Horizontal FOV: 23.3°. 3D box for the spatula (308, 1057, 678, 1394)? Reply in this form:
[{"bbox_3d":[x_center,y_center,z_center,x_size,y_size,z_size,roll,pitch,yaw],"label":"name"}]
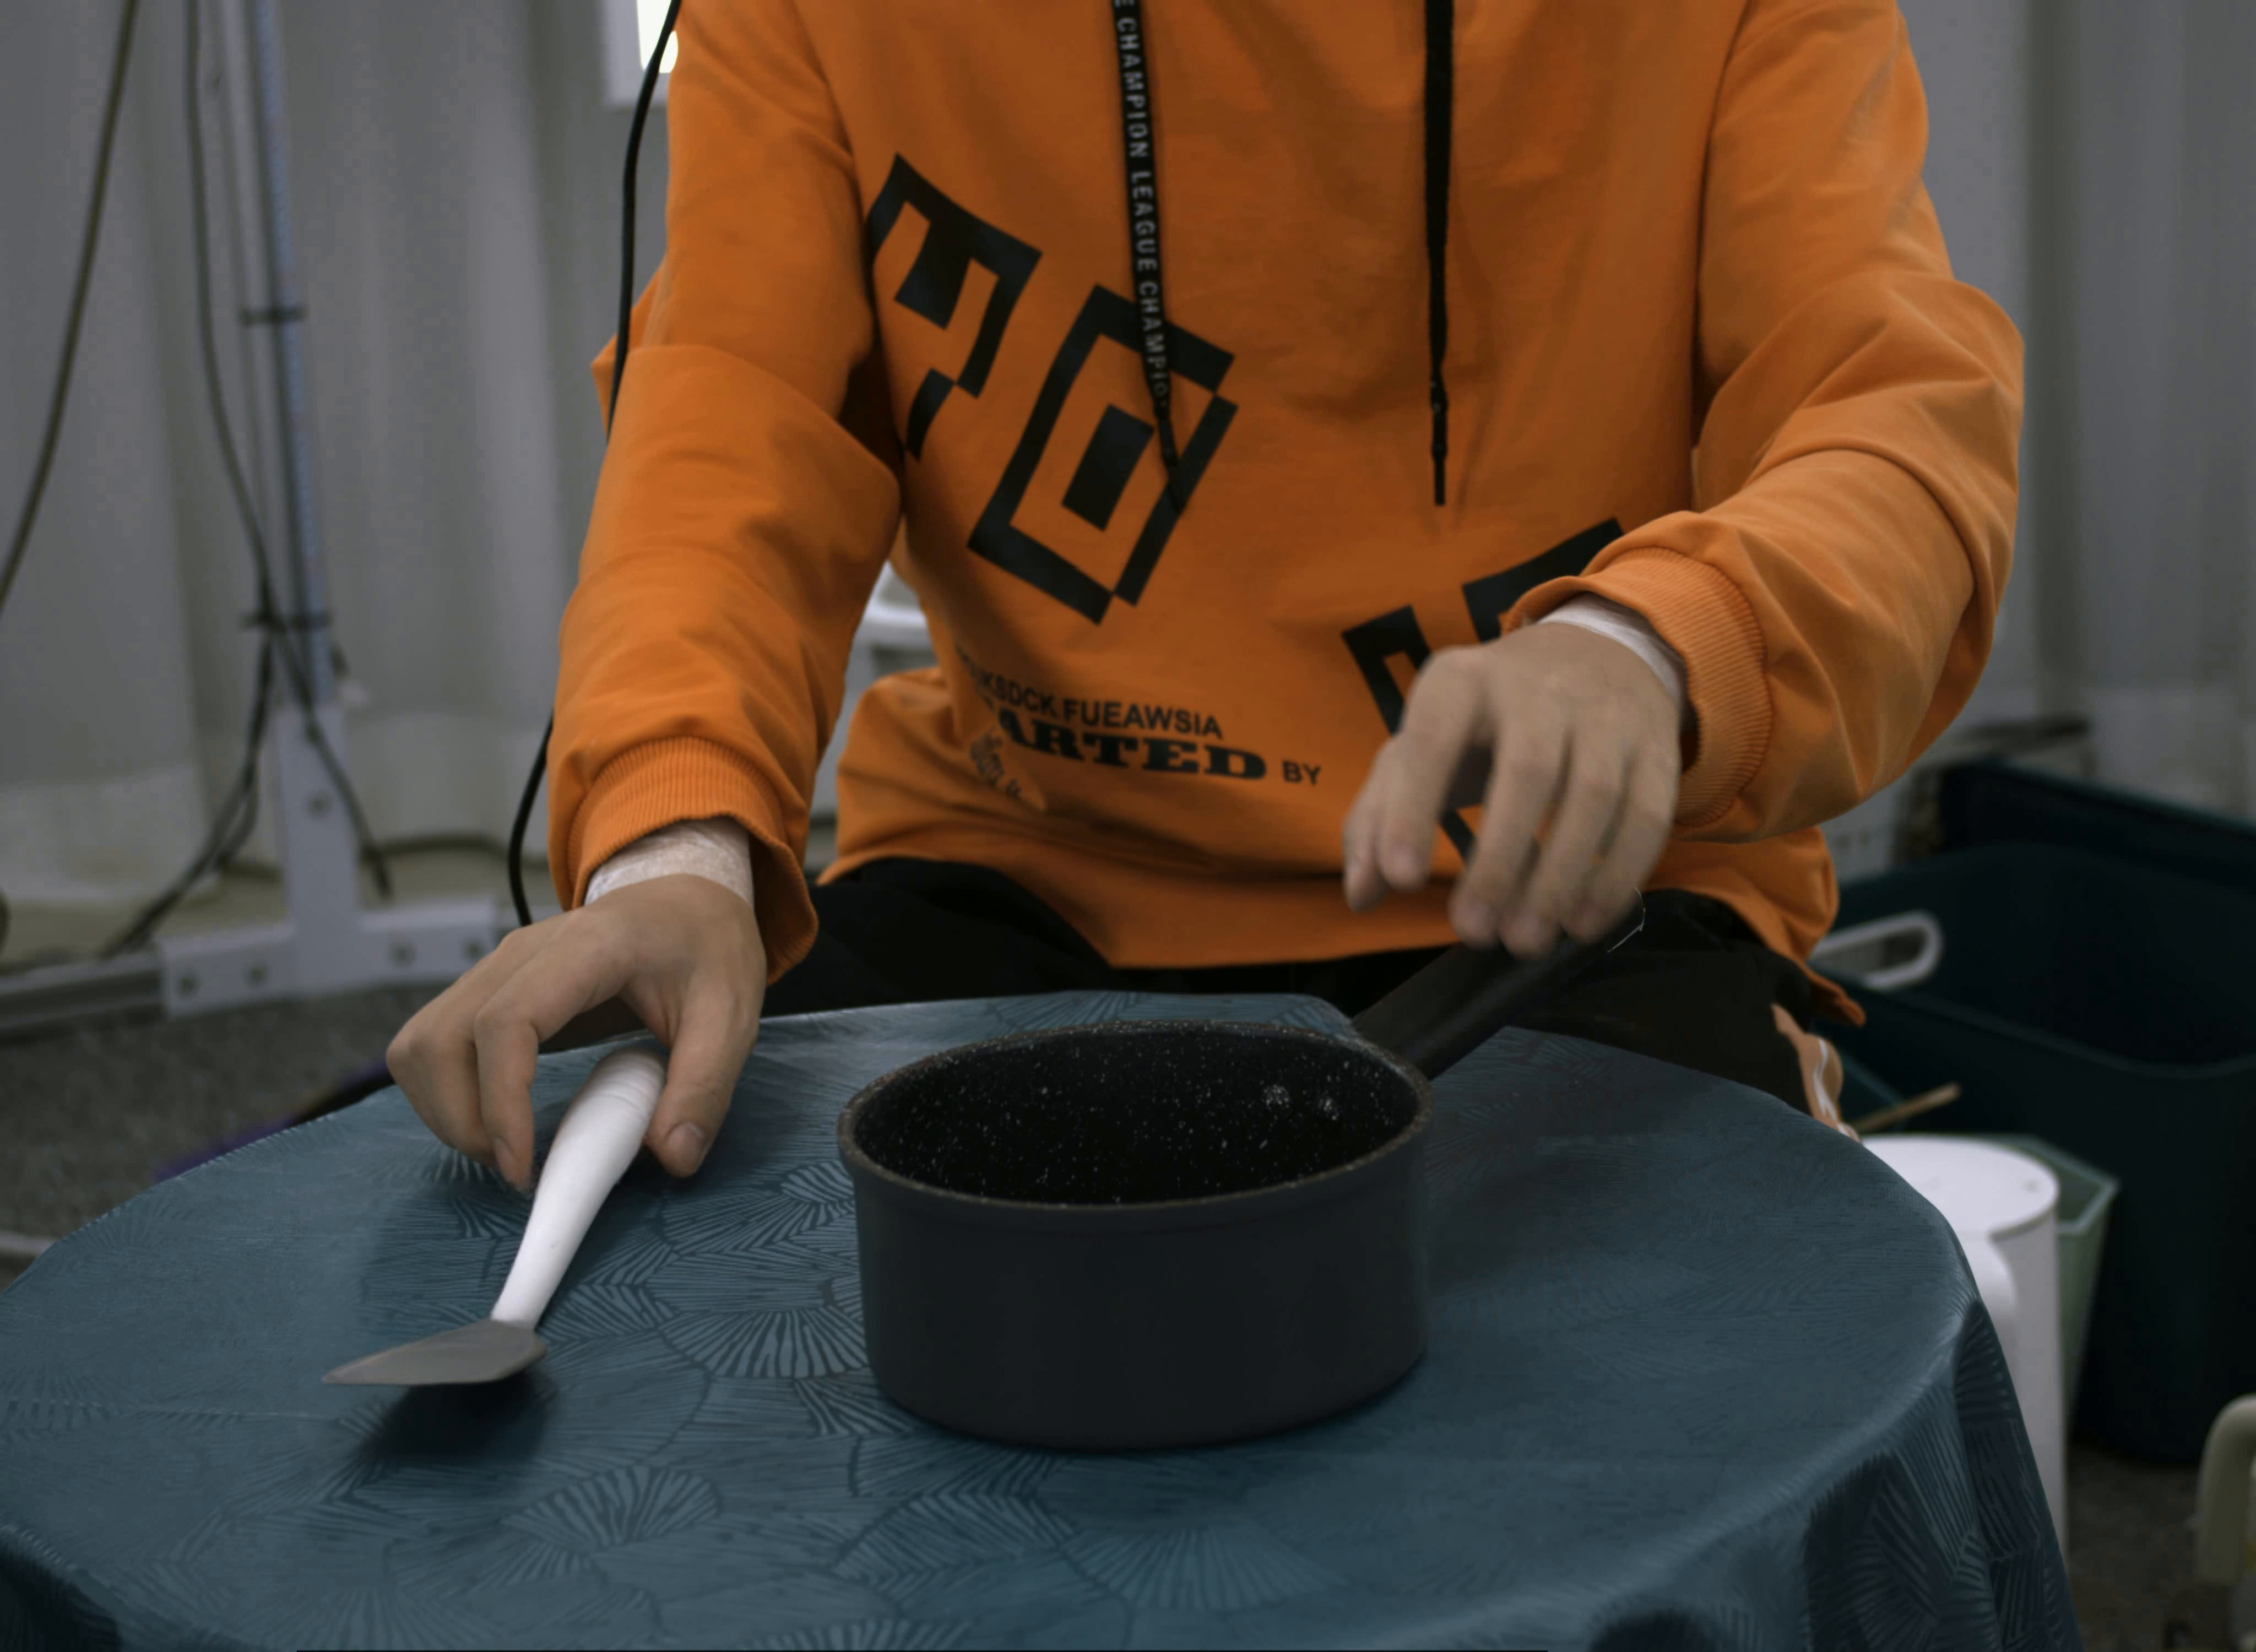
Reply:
[{"bbox_3d":[-0.181,0.127,1.645,0.058,0.032,0.289,3,15,7],"label":"spatula"}]

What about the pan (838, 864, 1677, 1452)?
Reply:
[{"bbox_3d":[0.055,0.094,1.619,0.173,0.086,0.328,11,22,40],"label":"pan"}]
